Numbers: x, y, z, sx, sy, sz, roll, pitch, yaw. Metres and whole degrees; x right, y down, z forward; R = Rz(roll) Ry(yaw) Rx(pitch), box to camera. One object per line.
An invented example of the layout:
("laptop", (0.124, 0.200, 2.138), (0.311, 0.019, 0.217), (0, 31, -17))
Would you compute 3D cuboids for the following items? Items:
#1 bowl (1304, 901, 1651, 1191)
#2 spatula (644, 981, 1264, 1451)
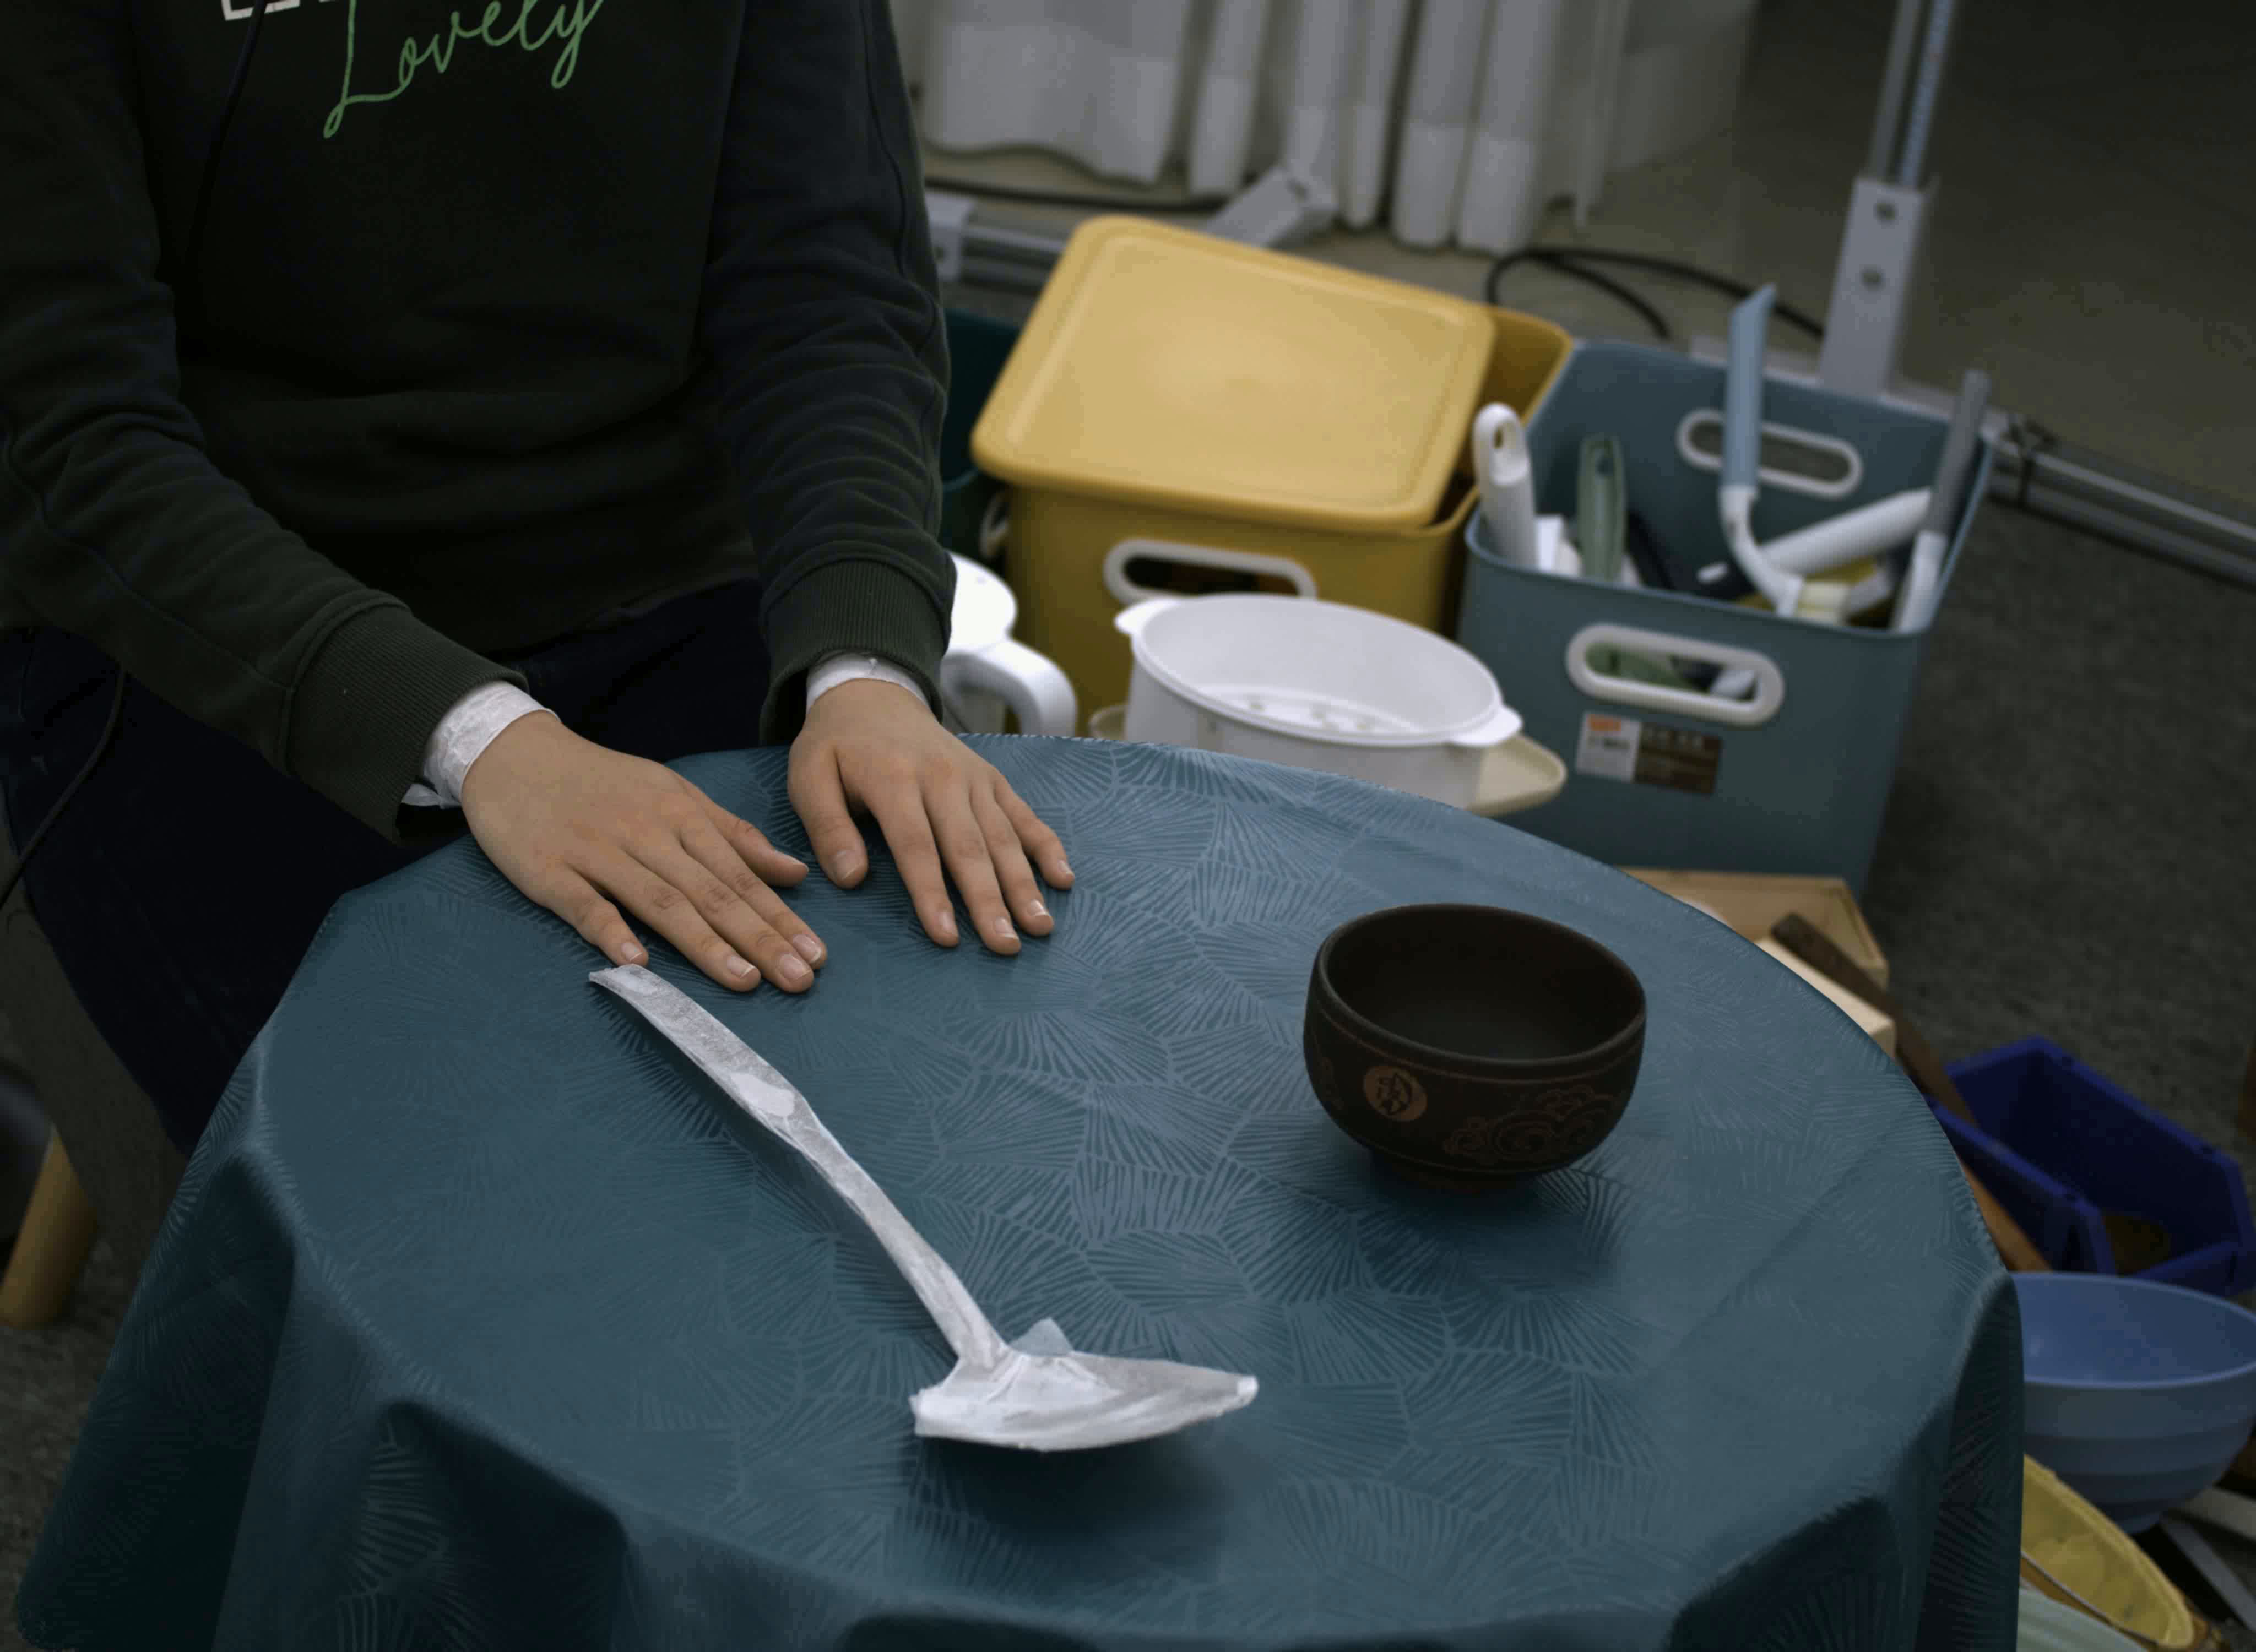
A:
("bowl", (0.117, 0.082, 1.830), (0.117, 0.069, 0.119), (6, 25, -3))
("spatula", (-0.081, 0.120, 1.747), (0.098, 0.044, 0.368), (-11, 32, -28))
